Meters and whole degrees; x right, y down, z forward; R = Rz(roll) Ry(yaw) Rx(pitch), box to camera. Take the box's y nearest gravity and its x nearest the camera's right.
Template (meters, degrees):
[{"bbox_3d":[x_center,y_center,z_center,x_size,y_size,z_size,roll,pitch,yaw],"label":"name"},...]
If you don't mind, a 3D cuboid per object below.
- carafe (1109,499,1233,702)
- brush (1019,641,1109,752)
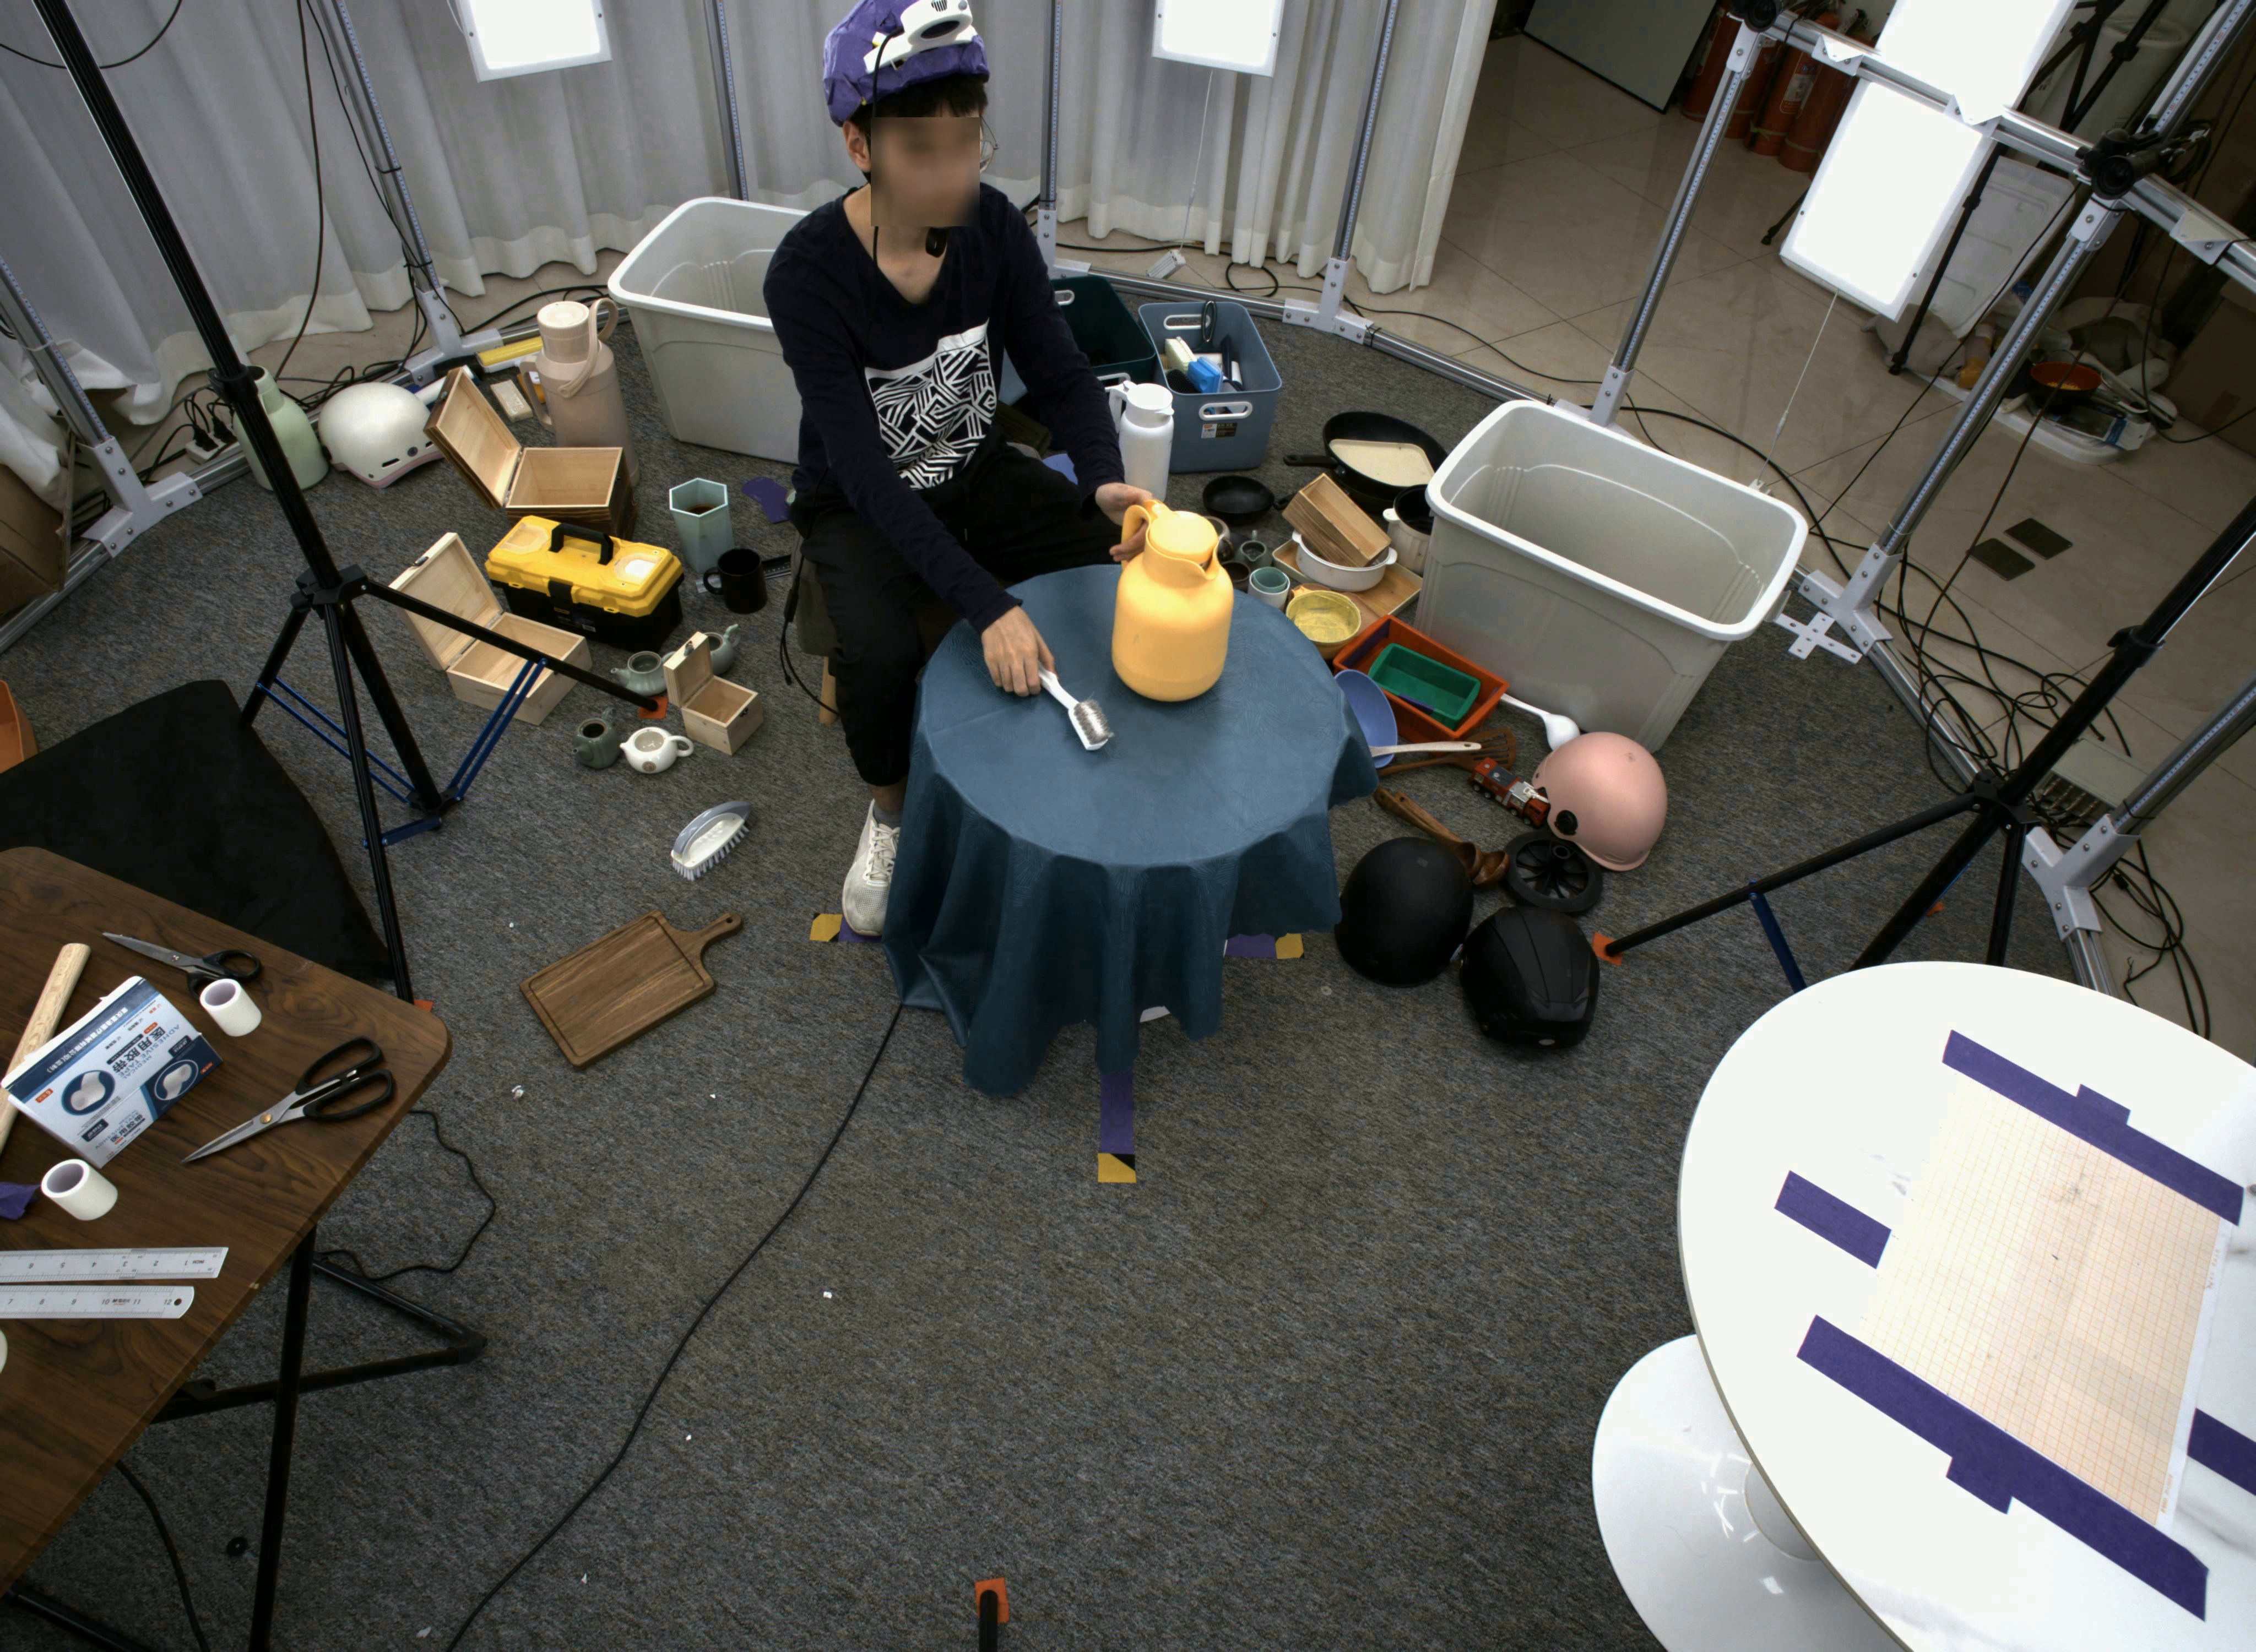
[{"bbox_3d":[0.054,-0.320,1.781,0.164,0.254,0.206,-20,54,-24],"label":"carafe"},{"bbox_3d":[-0.094,-0.196,1.799,0.034,0.049,0.249,-20,54,-19],"label":"brush"}]
